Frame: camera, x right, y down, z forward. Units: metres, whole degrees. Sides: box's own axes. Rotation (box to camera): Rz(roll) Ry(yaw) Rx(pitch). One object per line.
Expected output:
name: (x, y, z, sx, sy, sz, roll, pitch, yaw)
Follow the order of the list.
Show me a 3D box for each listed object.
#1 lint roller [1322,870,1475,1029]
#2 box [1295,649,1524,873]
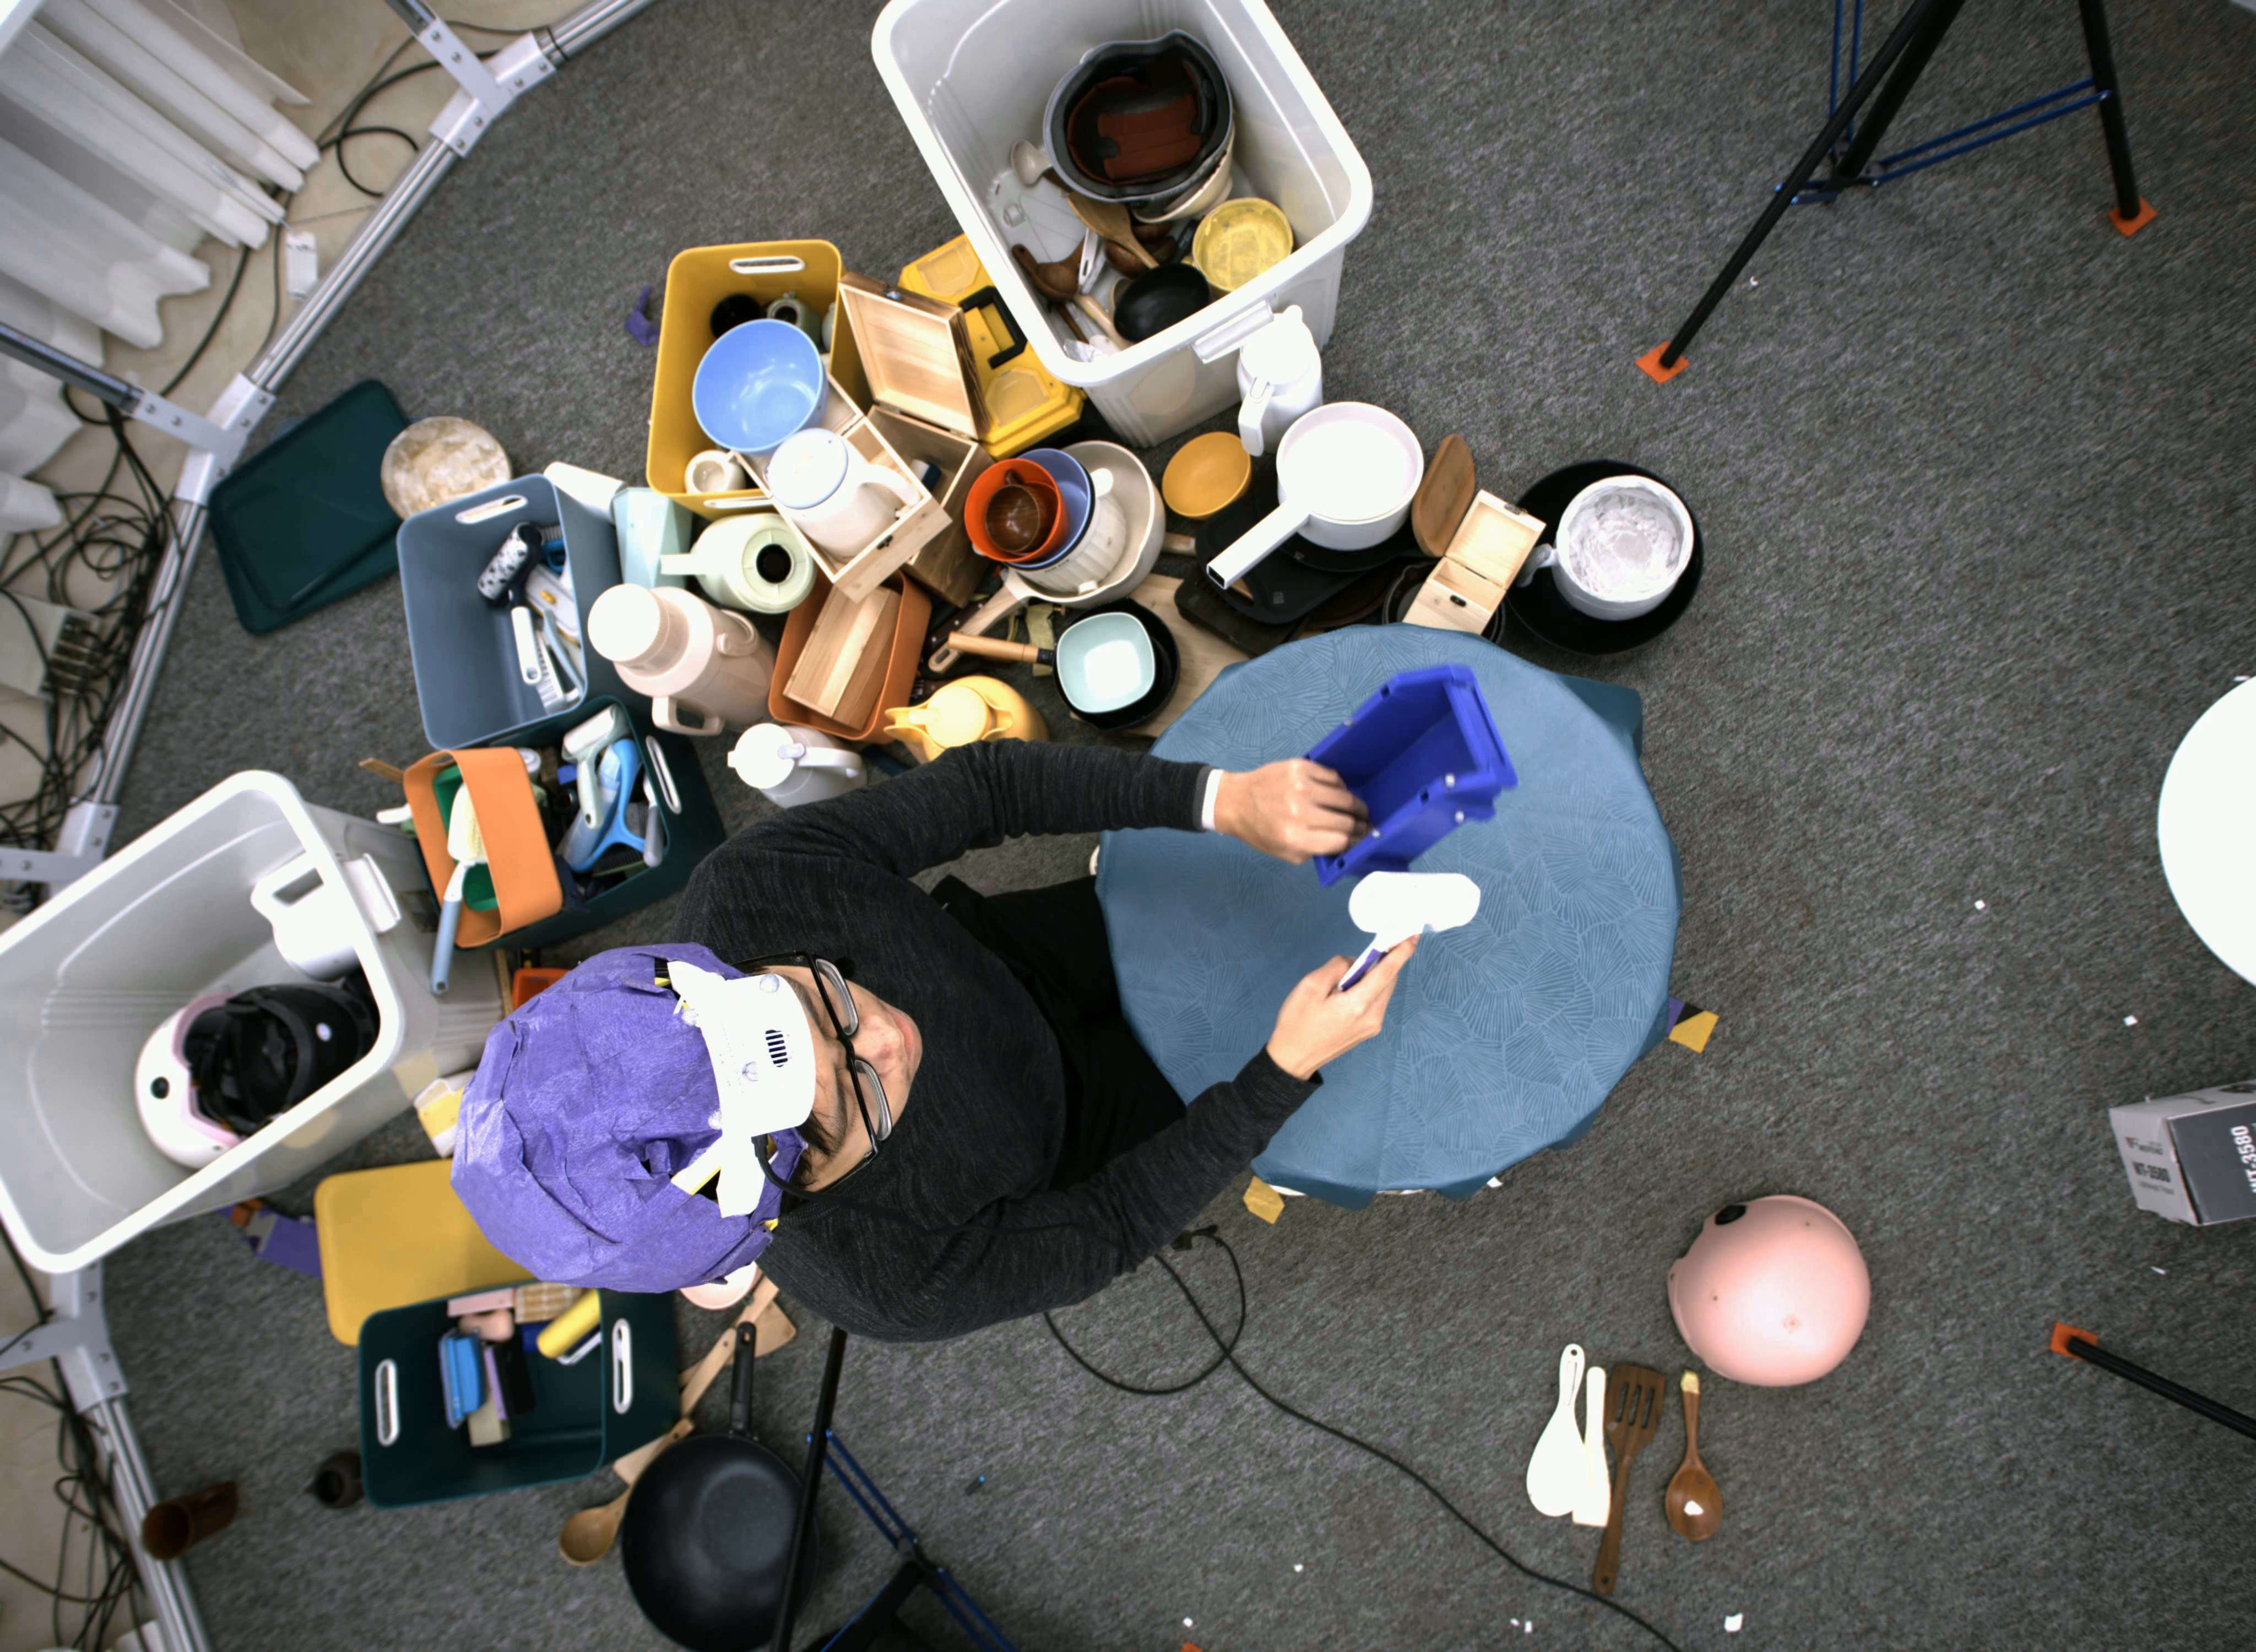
lint roller: (0.220, 0.116, 1.209, 0.049, 0.132, 0.184, 49, 125, 43)
box: (0.238, -0.055, 1.164, 0.184, 0.081, 0.122, -47, 47, 44)
